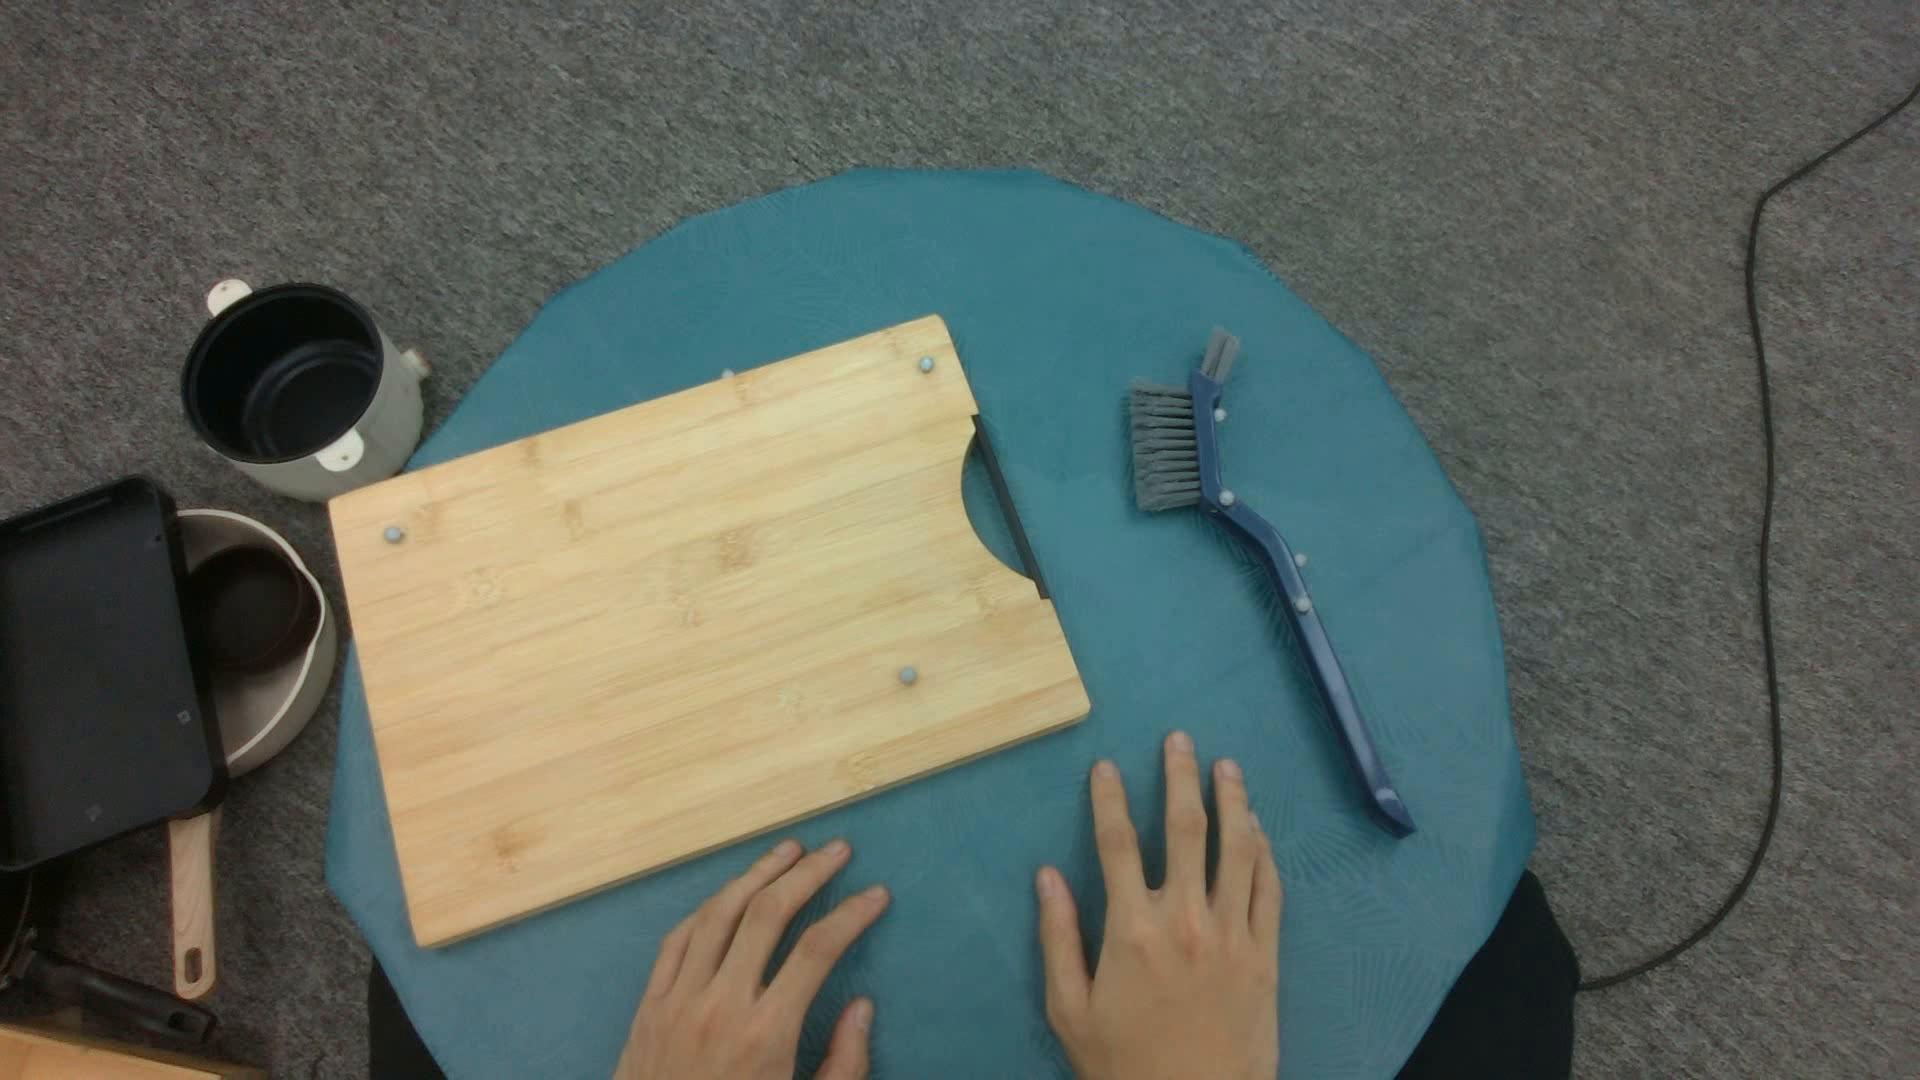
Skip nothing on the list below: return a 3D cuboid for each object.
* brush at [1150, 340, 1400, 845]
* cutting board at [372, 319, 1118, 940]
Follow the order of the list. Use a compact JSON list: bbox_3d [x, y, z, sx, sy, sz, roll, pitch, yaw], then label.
[{"bbox_3d":[0.178,0.021,0.722,0.096,0.033,0.273,-25,70,-8],"label":"brush"},{"bbox_3d":[-0.122,0.036,0.729,0.349,0.023,0.251,-19,71,-6],"label":"cutting board"}]
